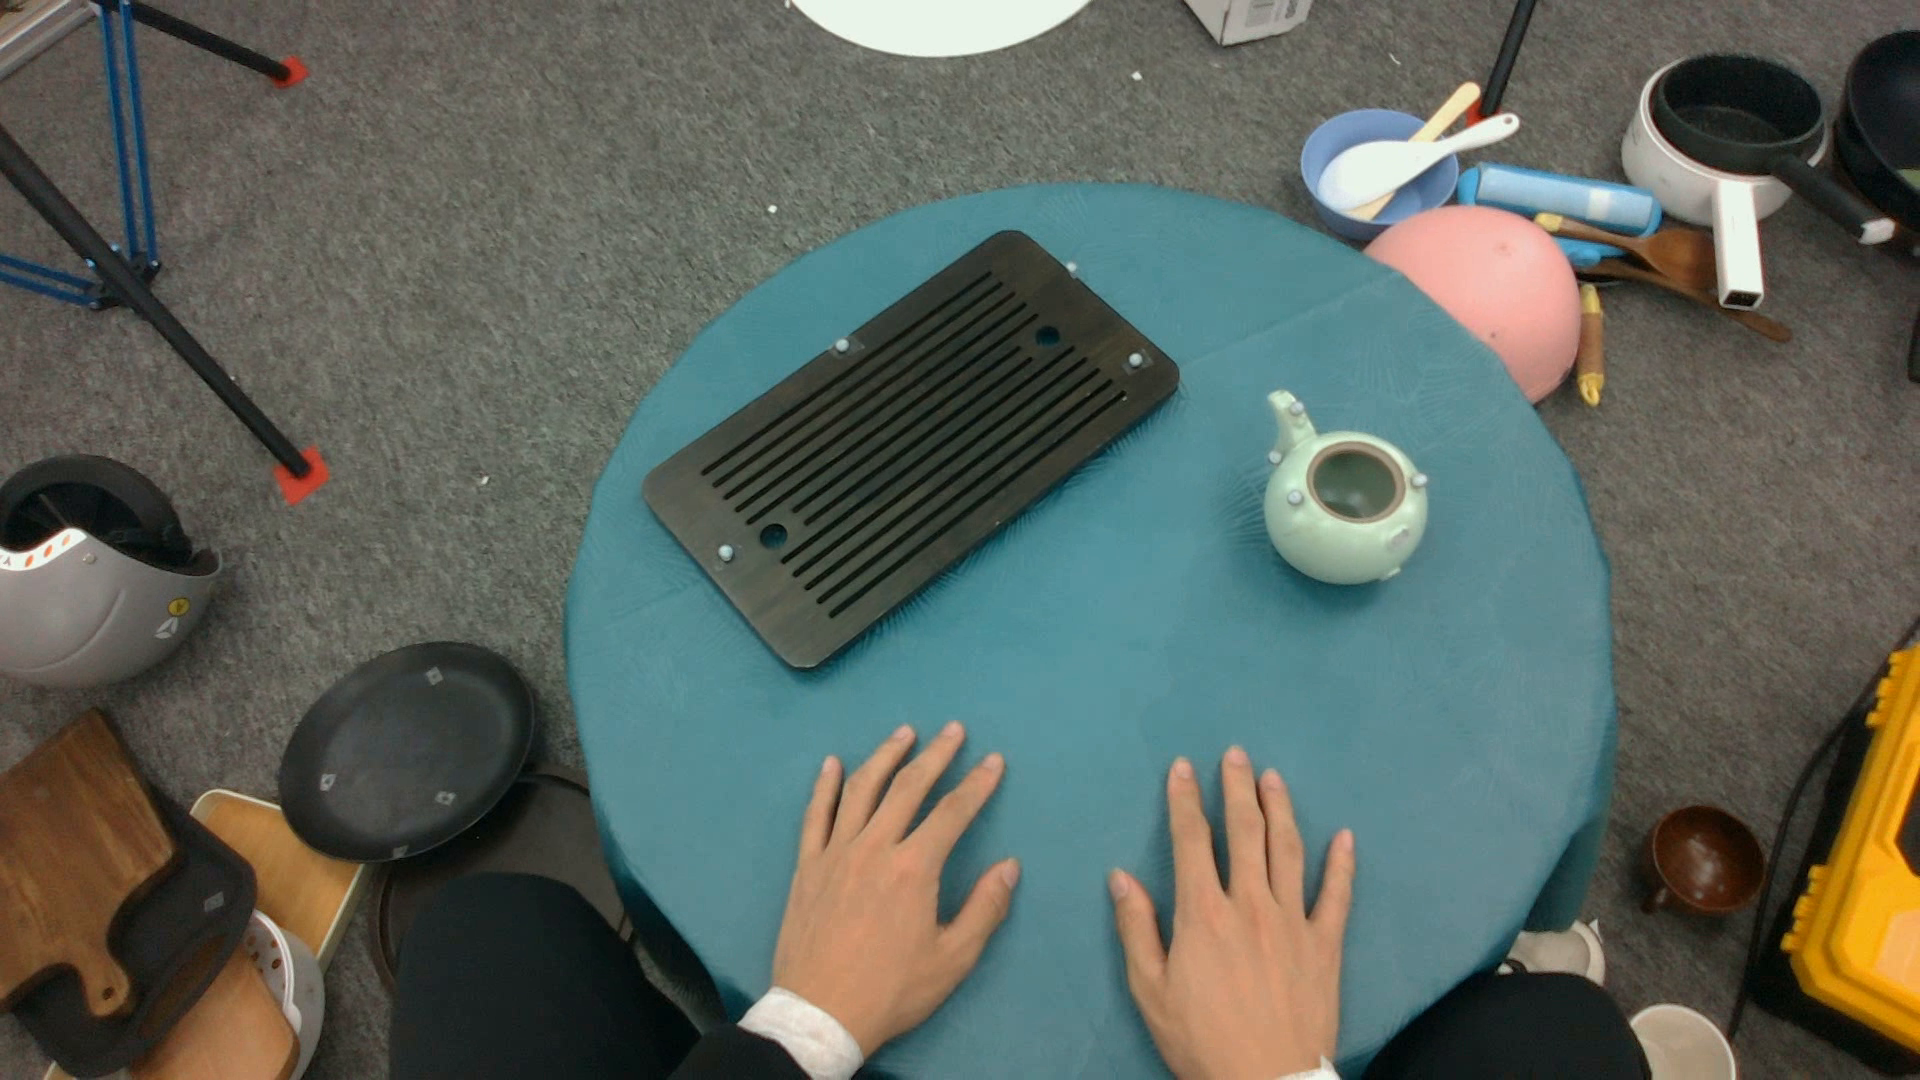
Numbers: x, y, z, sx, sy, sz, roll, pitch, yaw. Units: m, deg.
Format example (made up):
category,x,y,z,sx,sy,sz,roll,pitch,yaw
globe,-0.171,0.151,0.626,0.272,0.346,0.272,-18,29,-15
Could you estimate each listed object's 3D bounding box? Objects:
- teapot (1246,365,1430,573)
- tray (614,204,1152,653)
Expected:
category,x,y,z,sx,sy,sz,roll,pitch,yaw
teapot,0.206,-0.032,0.775,0.088,0.074,0.144,-30,63,-13
tray,-0.044,-0.077,0.841,0.307,0.018,0.170,-39,67,-17
